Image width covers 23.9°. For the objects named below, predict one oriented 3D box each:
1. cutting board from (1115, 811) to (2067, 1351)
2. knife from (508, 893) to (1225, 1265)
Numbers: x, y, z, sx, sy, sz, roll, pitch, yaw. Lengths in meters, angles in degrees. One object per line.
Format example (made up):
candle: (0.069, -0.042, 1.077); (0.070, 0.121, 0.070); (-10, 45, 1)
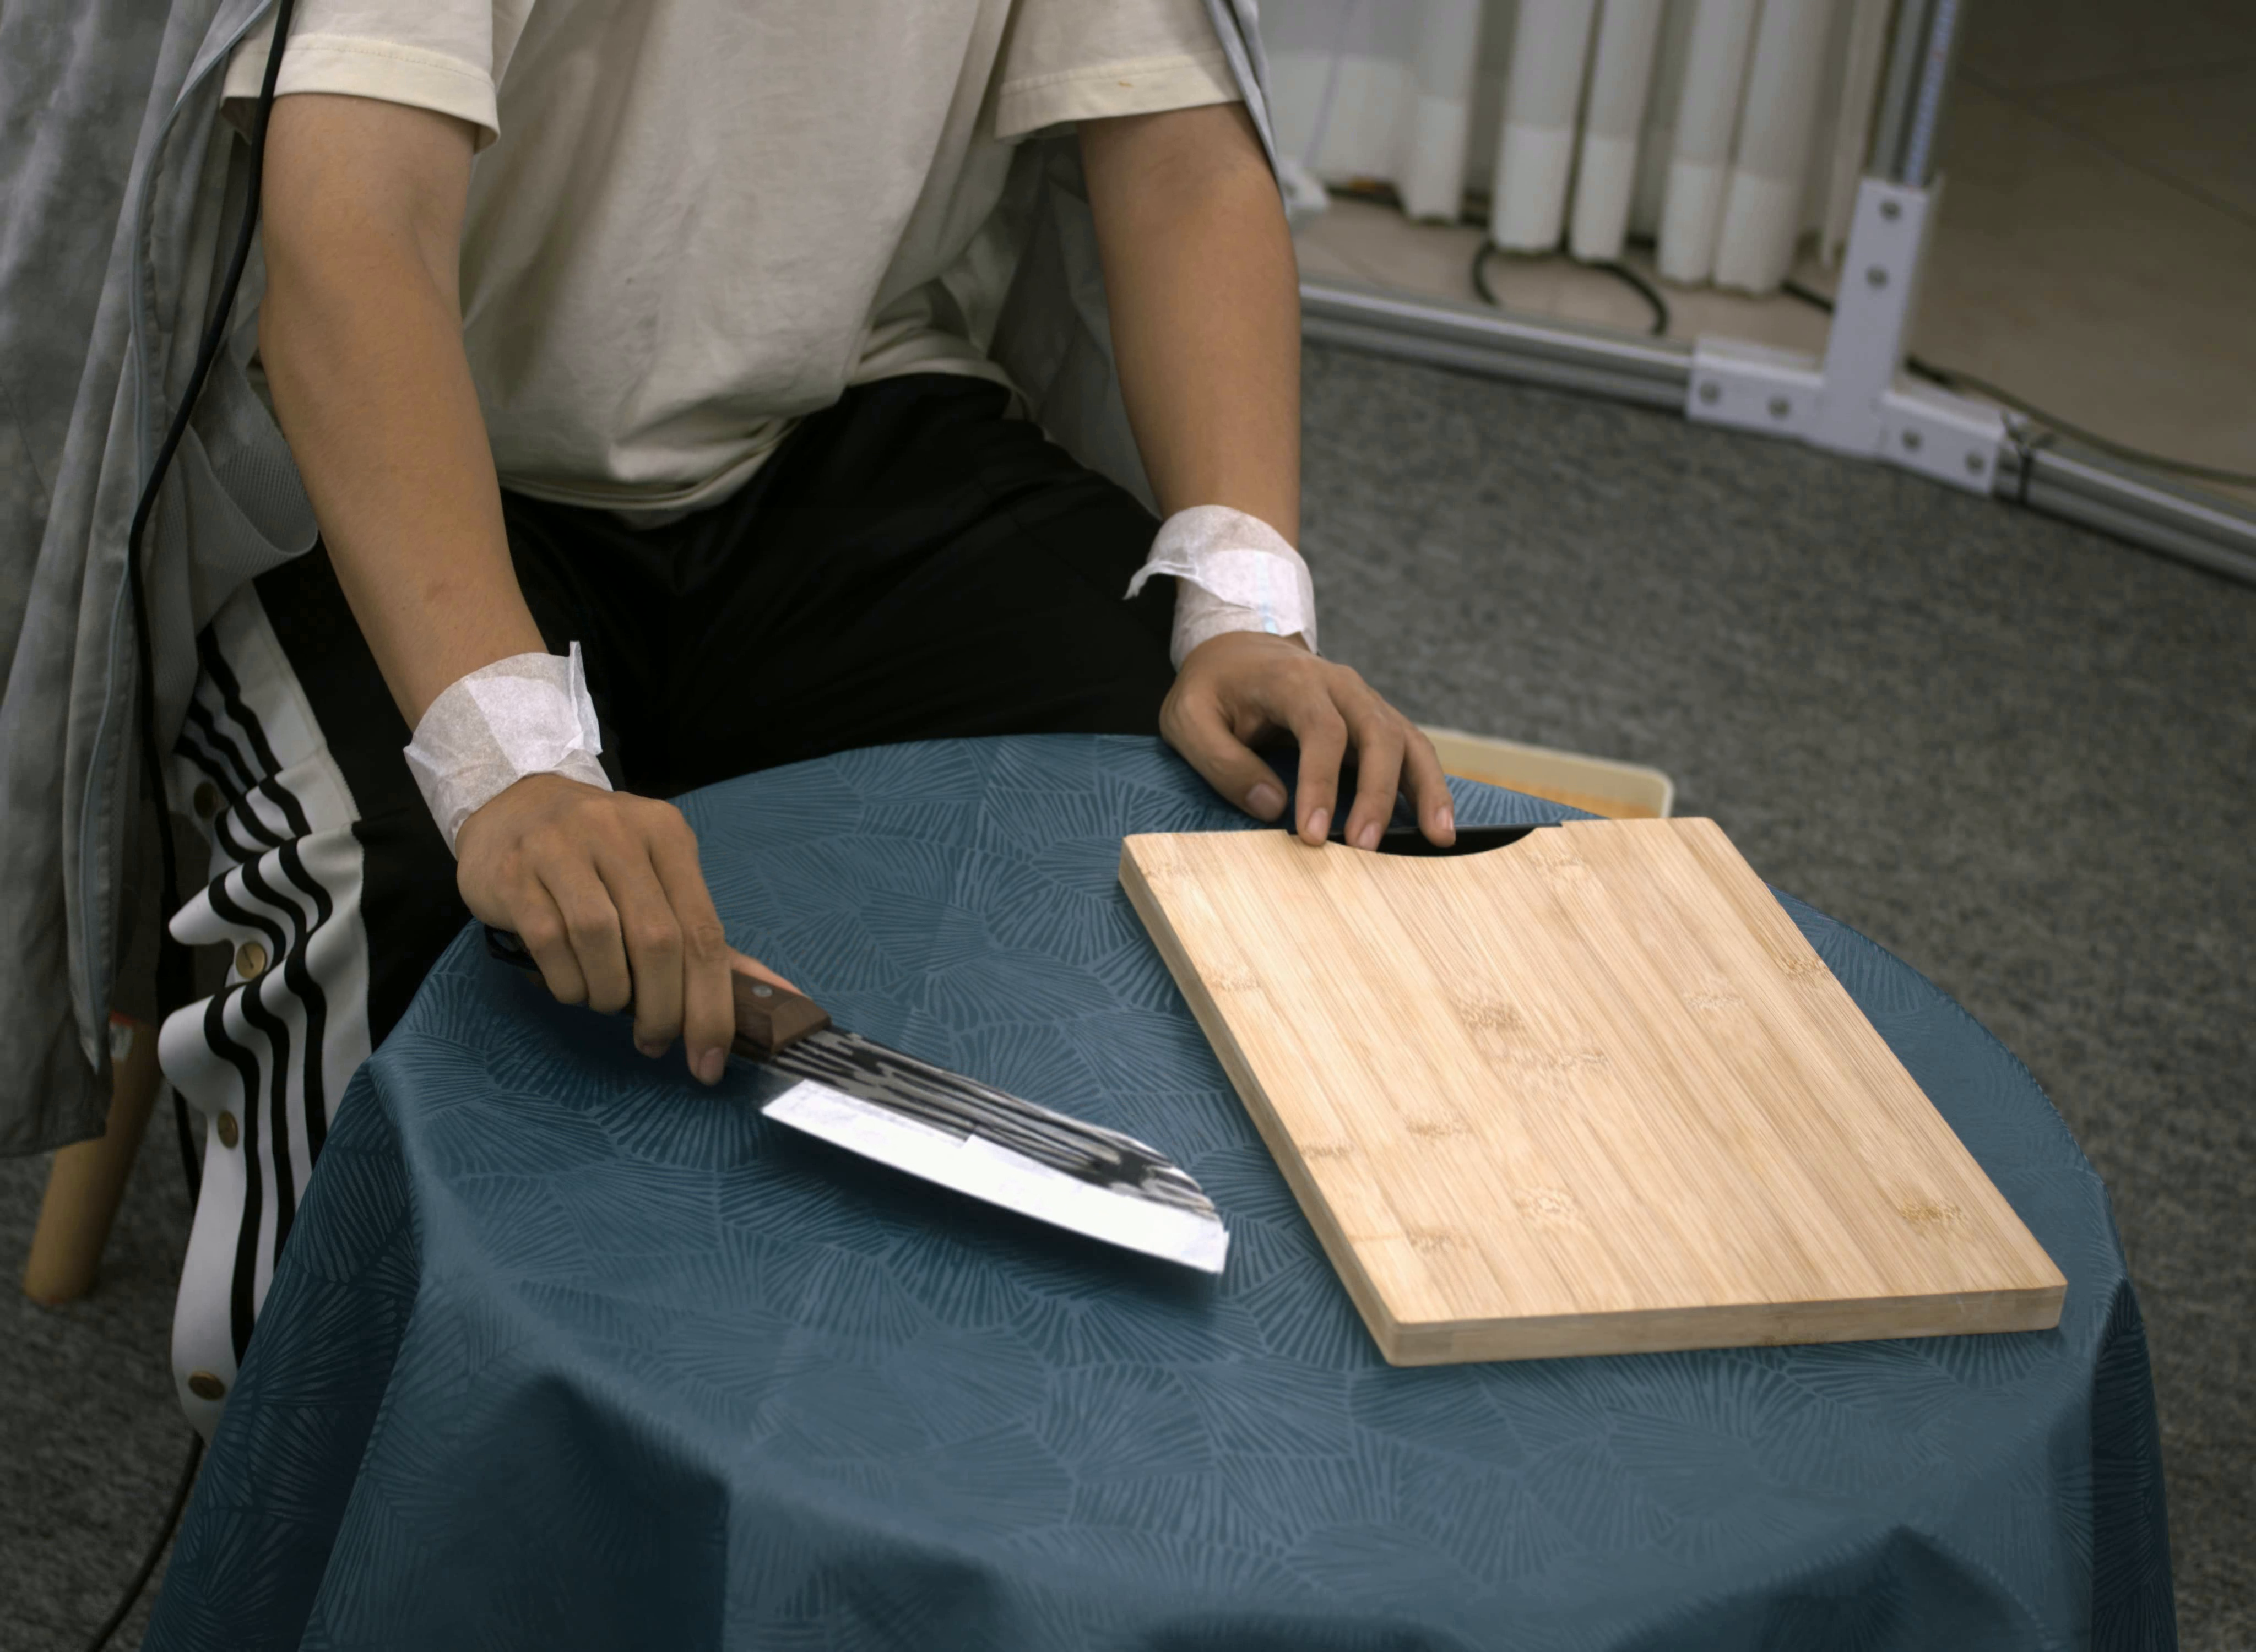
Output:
cutting board: (0.155, 0.085, 1.899); (0.249, 0.023, 0.351); (-2, 28, -17)
knife: (-0.094, 0.087, 1.803); (0.300, 0.024, 0.068); (20, 27, 20)
